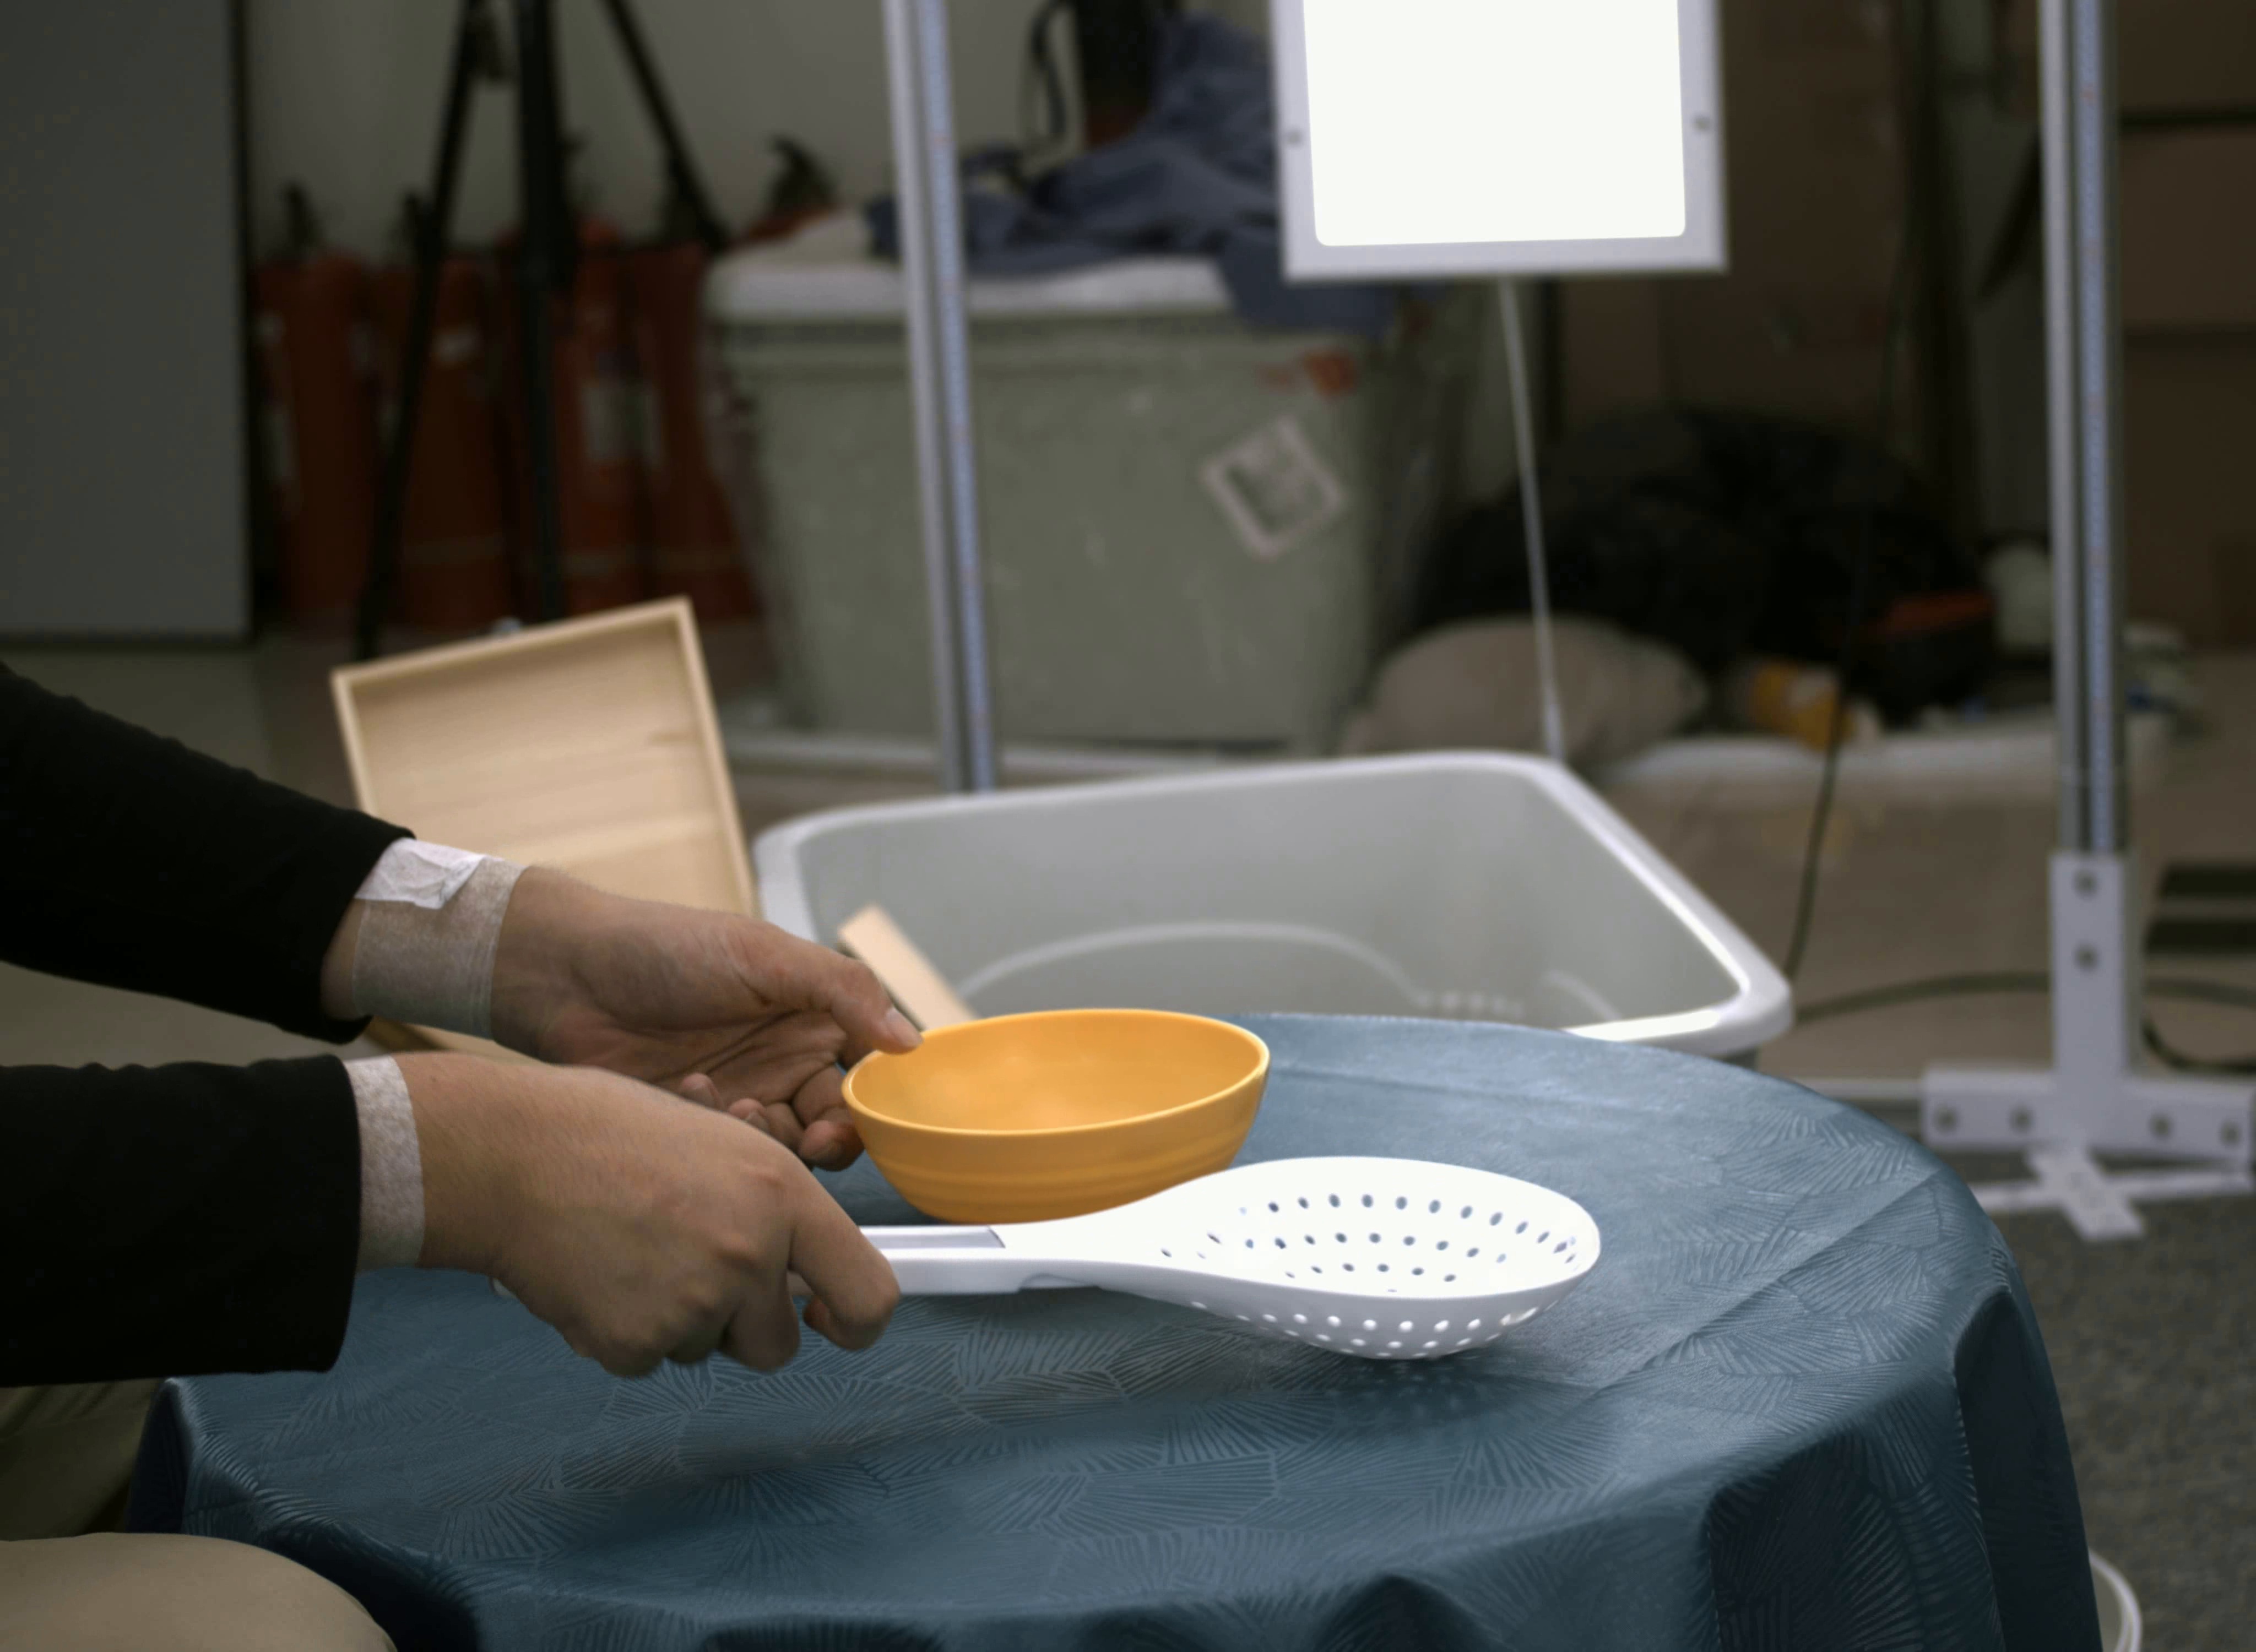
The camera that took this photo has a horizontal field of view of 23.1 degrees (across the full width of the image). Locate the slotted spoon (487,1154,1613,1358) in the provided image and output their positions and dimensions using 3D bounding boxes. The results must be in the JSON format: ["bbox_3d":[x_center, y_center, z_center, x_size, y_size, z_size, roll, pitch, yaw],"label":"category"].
[{"bbox_3d":[-0.022,0.133,1.691,0.345,0.046,0.137,3,14,-12],"label":"slotted spoon"}]

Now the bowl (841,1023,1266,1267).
[{"bbox_3d":[-0.023,0.111,1.853,0.145,0.060,0.145,-4,12,0],"label":"bowl"}]
